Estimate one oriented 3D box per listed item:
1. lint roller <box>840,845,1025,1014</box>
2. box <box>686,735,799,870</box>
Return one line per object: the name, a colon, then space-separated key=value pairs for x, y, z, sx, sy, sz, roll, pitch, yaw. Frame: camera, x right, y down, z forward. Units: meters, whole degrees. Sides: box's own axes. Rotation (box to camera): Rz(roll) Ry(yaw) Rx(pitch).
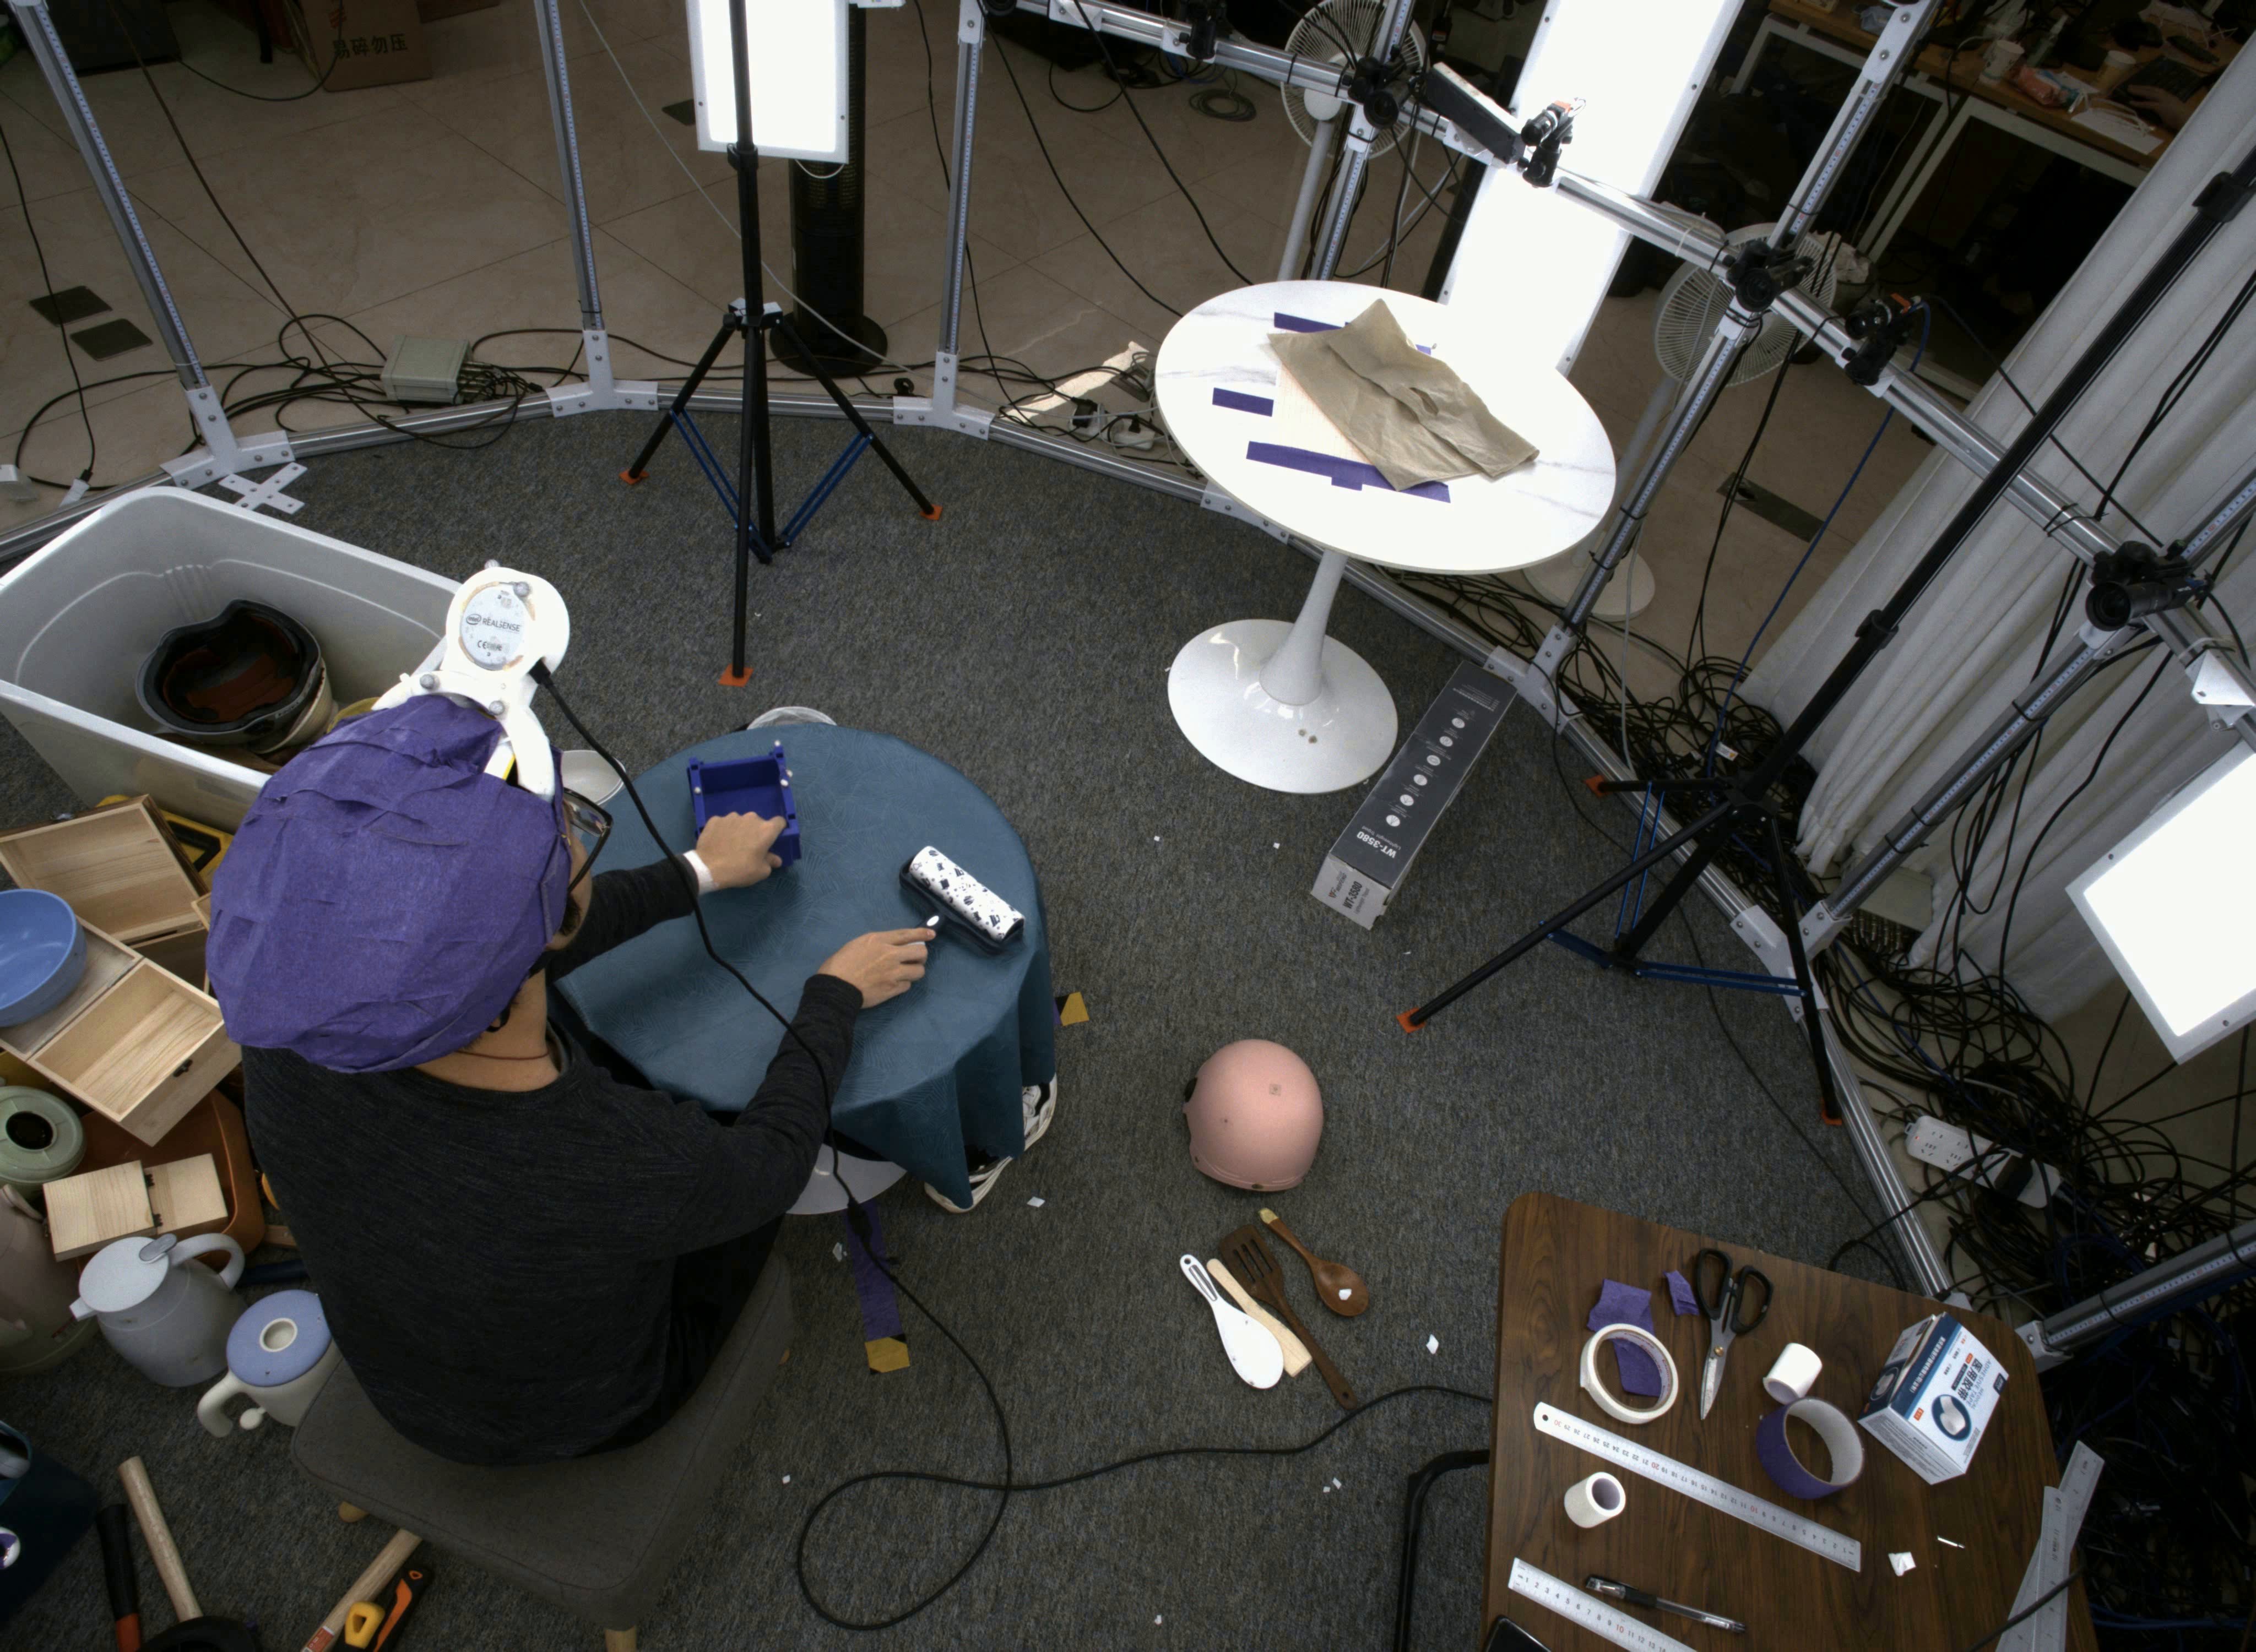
lint roller: x=-0.266 y=0.143 z=1.619 sx=0.173 sy=0.051 sz=0.247 roll=36 pitch=51 yaw=12
box: x=-0.493 y=-0.037 z=1.645 sx=0.125 sy=0.083 sz=0.175 roll=-9 pitch=57 yaw=-16
